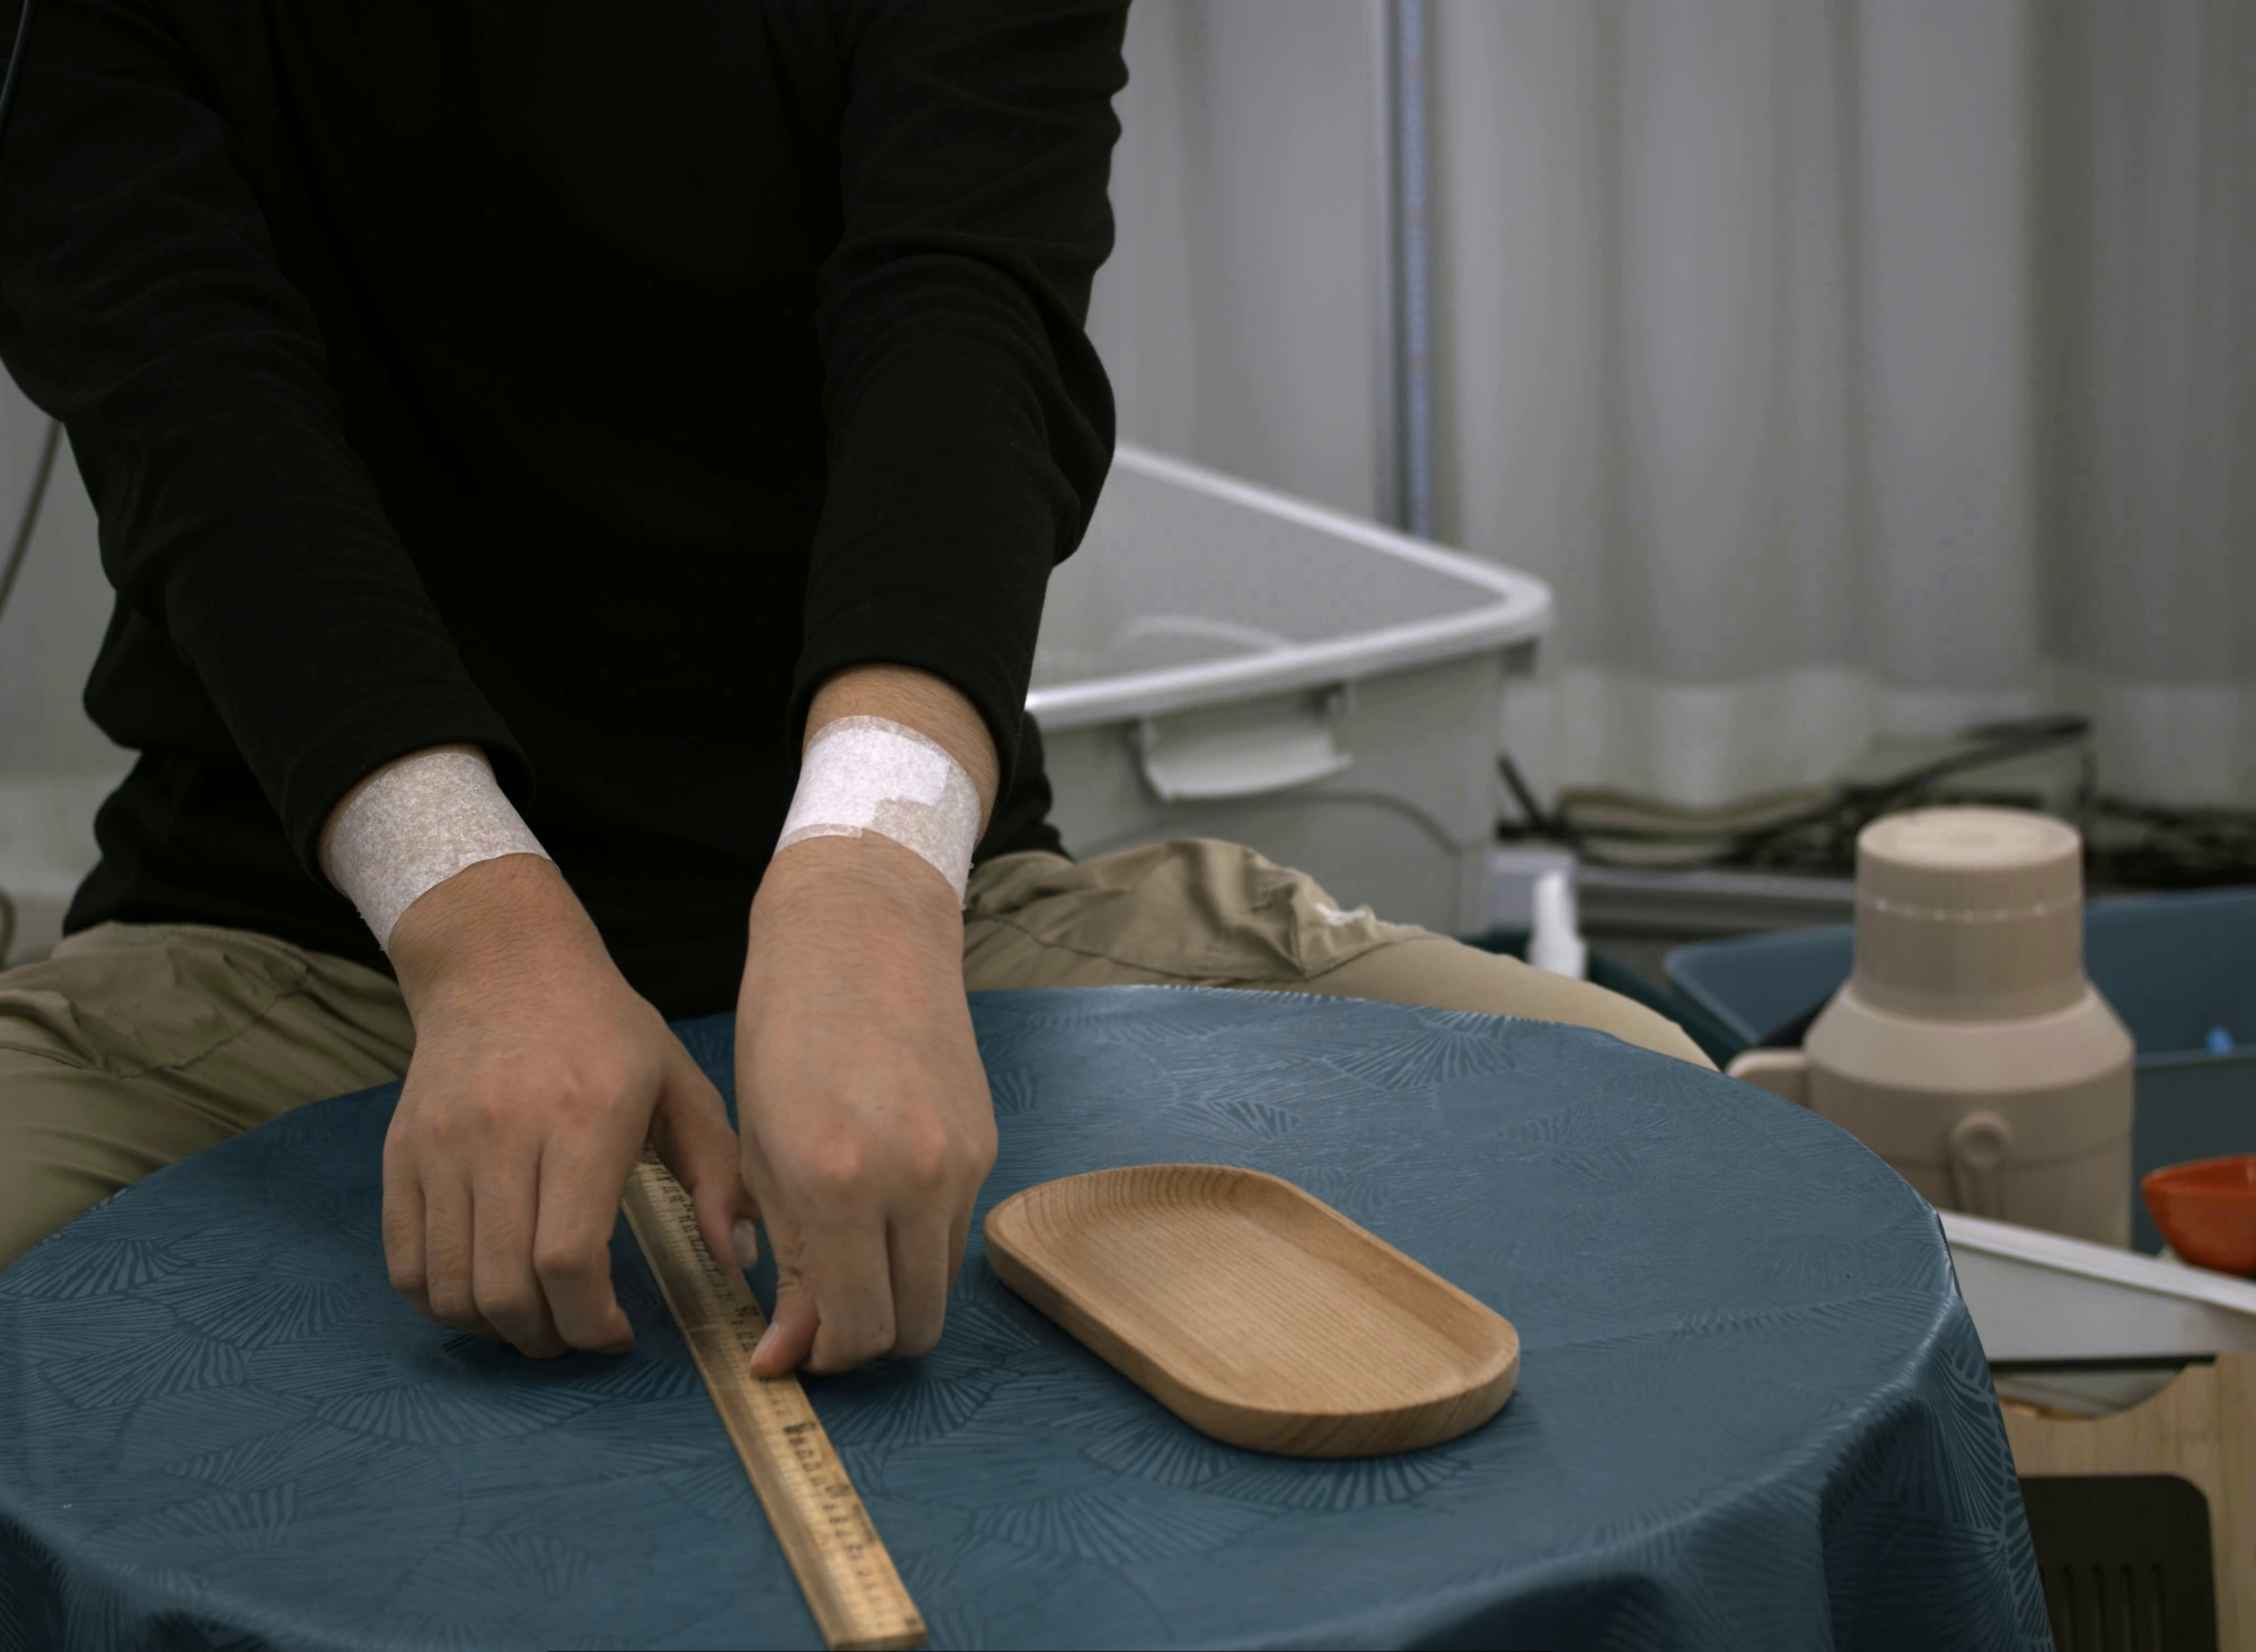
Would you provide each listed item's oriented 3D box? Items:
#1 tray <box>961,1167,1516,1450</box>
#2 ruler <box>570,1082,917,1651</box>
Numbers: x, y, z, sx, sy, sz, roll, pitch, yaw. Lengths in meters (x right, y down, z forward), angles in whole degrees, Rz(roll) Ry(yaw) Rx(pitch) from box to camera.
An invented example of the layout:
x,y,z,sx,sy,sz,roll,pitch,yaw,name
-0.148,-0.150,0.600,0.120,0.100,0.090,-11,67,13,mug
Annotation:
x,y,z,sx,sy,sz,roll,pitch,yaw,name
0.029,0.138,1.588,0.101,0.020,0.233,-8,14,-25,tray
-0.120,0.147,1.608,0.026,0.006,0.504,-1,14,-13,ruler
